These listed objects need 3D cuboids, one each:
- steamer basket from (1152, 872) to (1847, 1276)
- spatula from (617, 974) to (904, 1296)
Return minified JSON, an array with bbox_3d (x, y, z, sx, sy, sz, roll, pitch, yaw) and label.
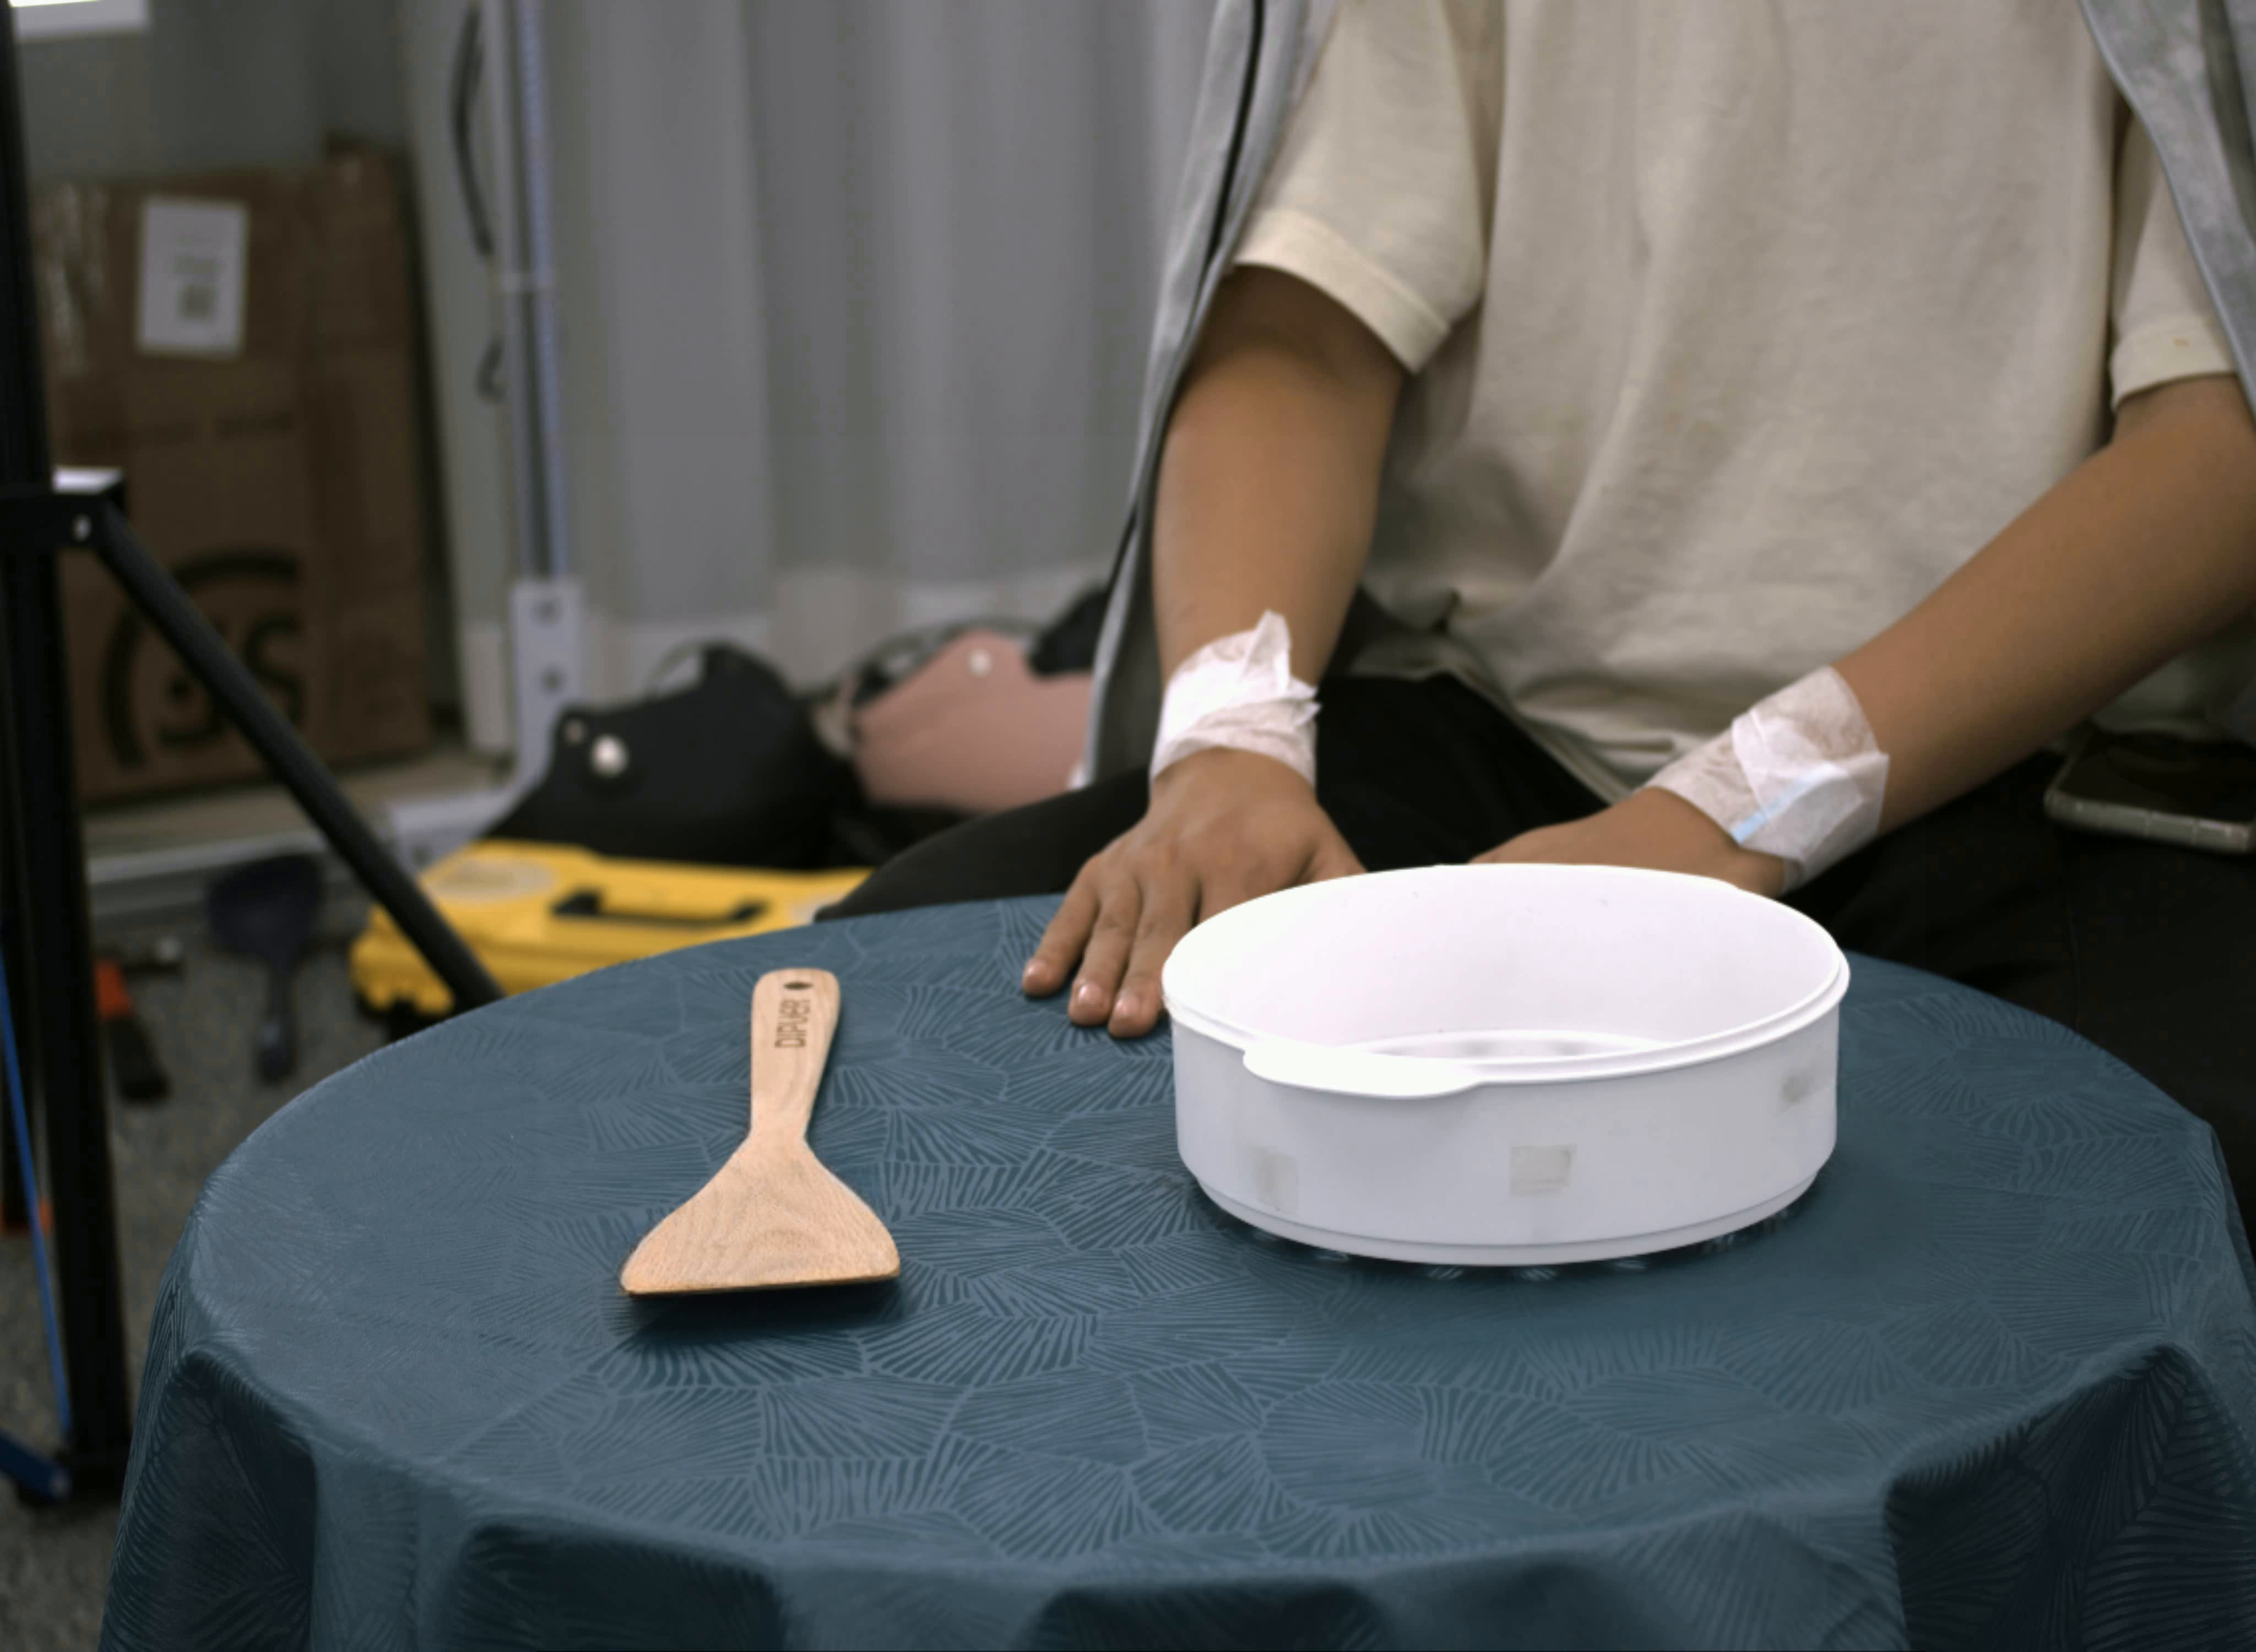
[{"bbox_3d":[0.107,0.072,1.545,0.205,0.069,0.226,8,17,29],"label":"steamer basket"},{"bbox_3d":[-0.106,0.090,1.605,0.079,0.016,0.329,-2,15,-1],"label":"spatula"}]
